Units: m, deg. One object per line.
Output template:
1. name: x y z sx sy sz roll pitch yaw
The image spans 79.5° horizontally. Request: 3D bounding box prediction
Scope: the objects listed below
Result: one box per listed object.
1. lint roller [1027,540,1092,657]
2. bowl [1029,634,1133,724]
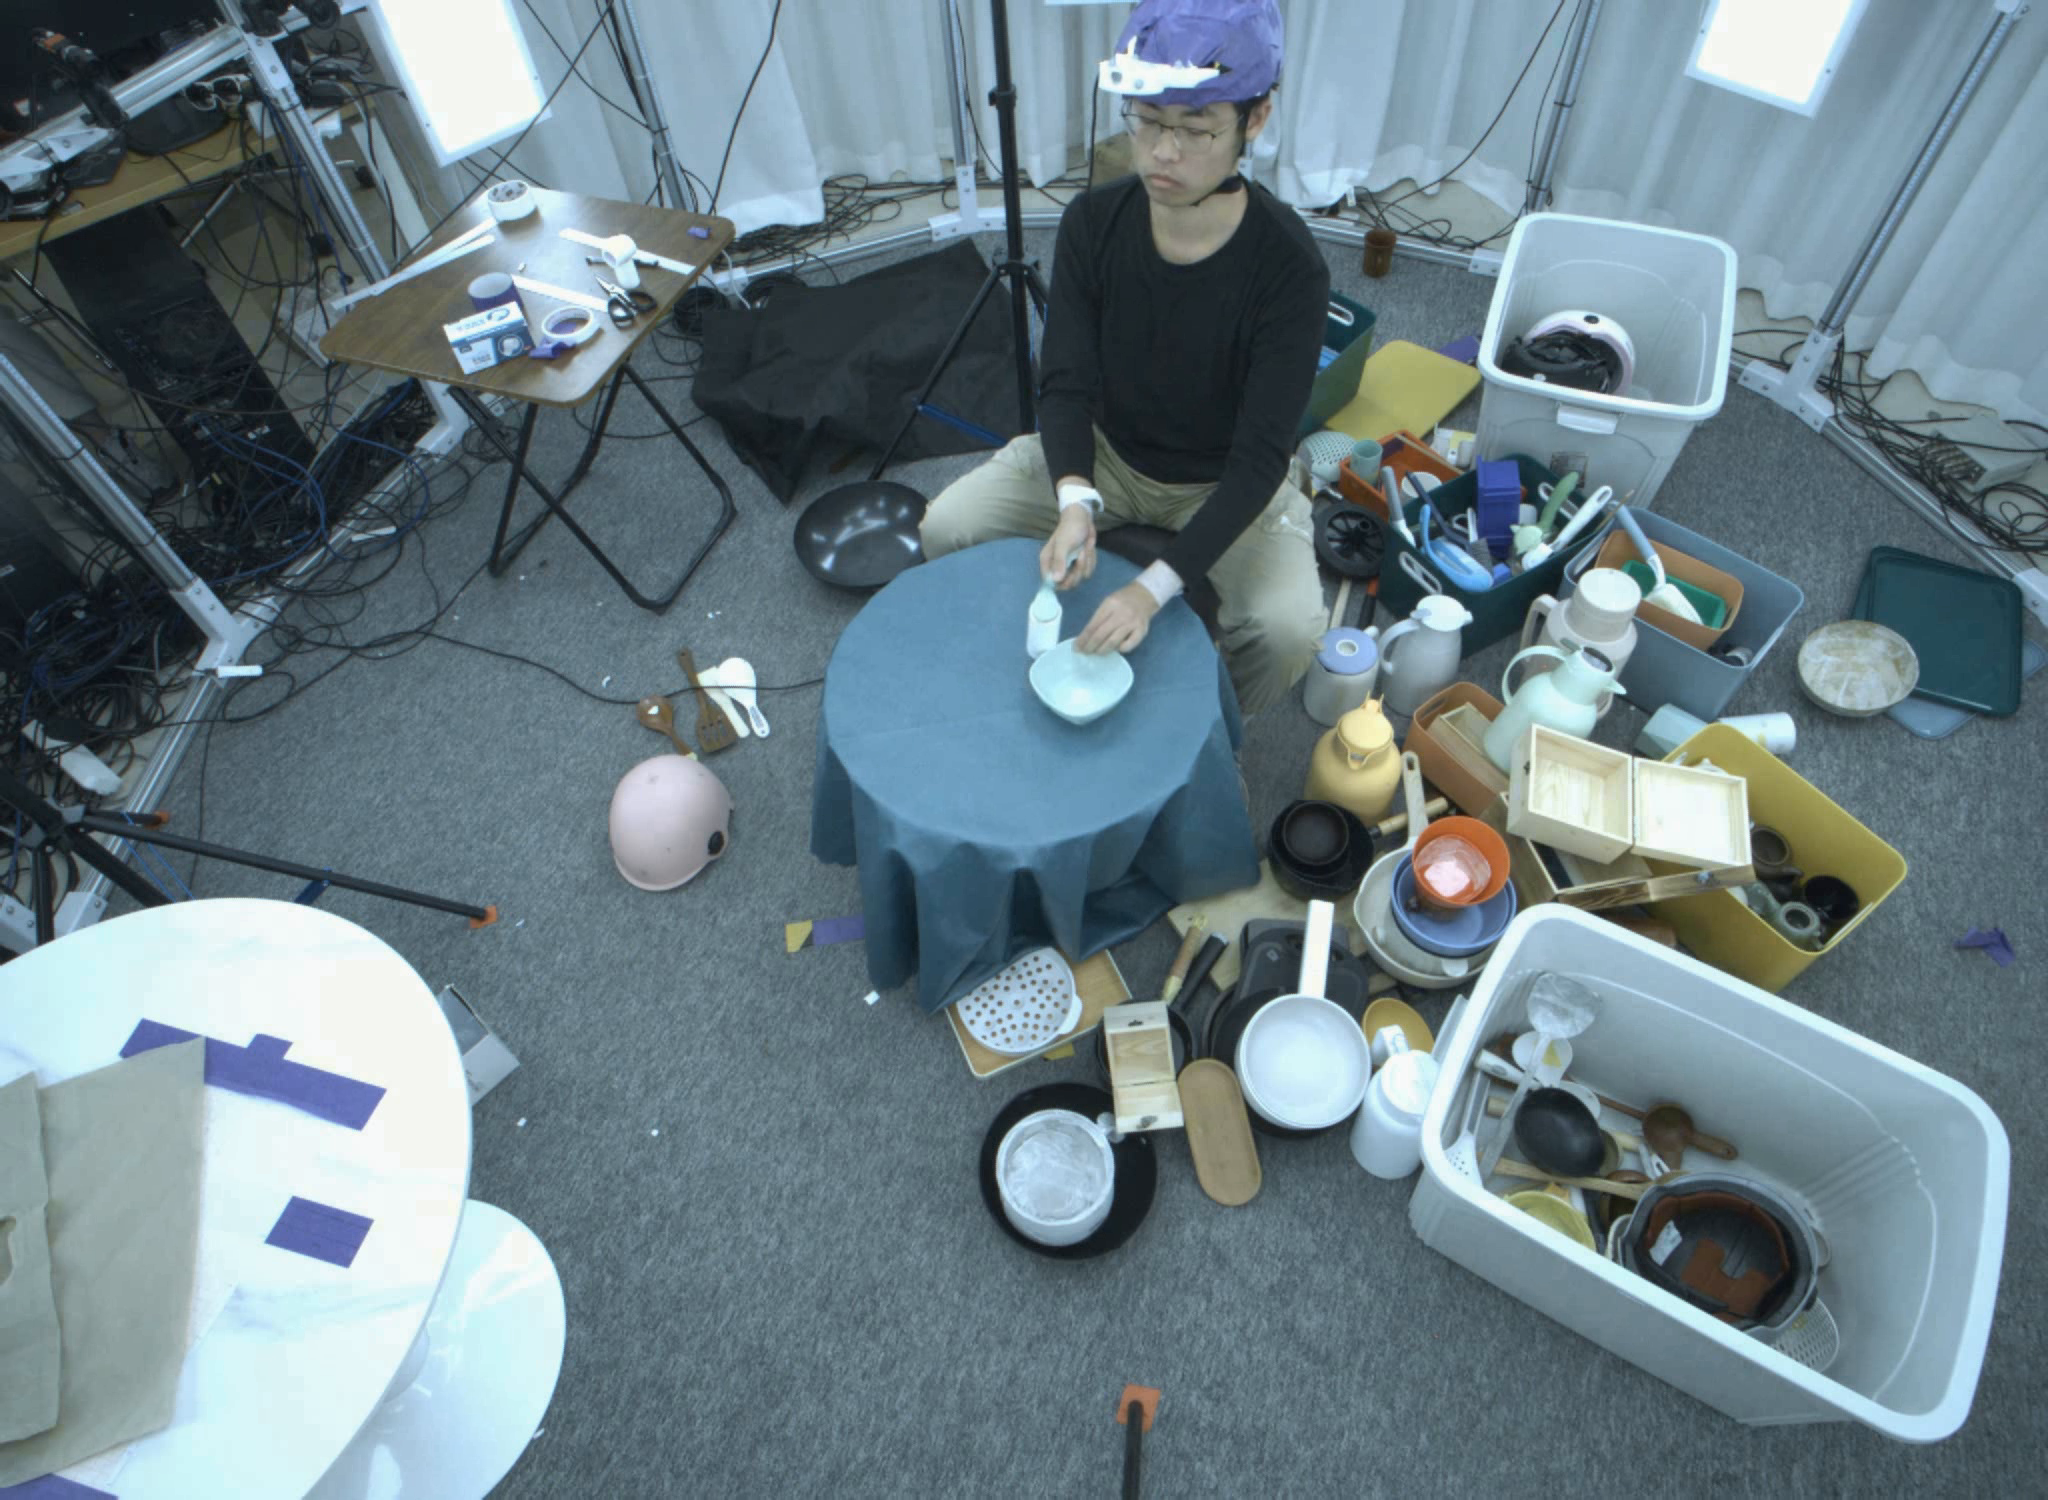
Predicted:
1. lint roller: 0.053 -0.245 1.842 0.048 0.117 0.197 17 63 7
2. bowl: 0.084 -0.095 1.817 0.151 0.059 0.150 0 56 1
